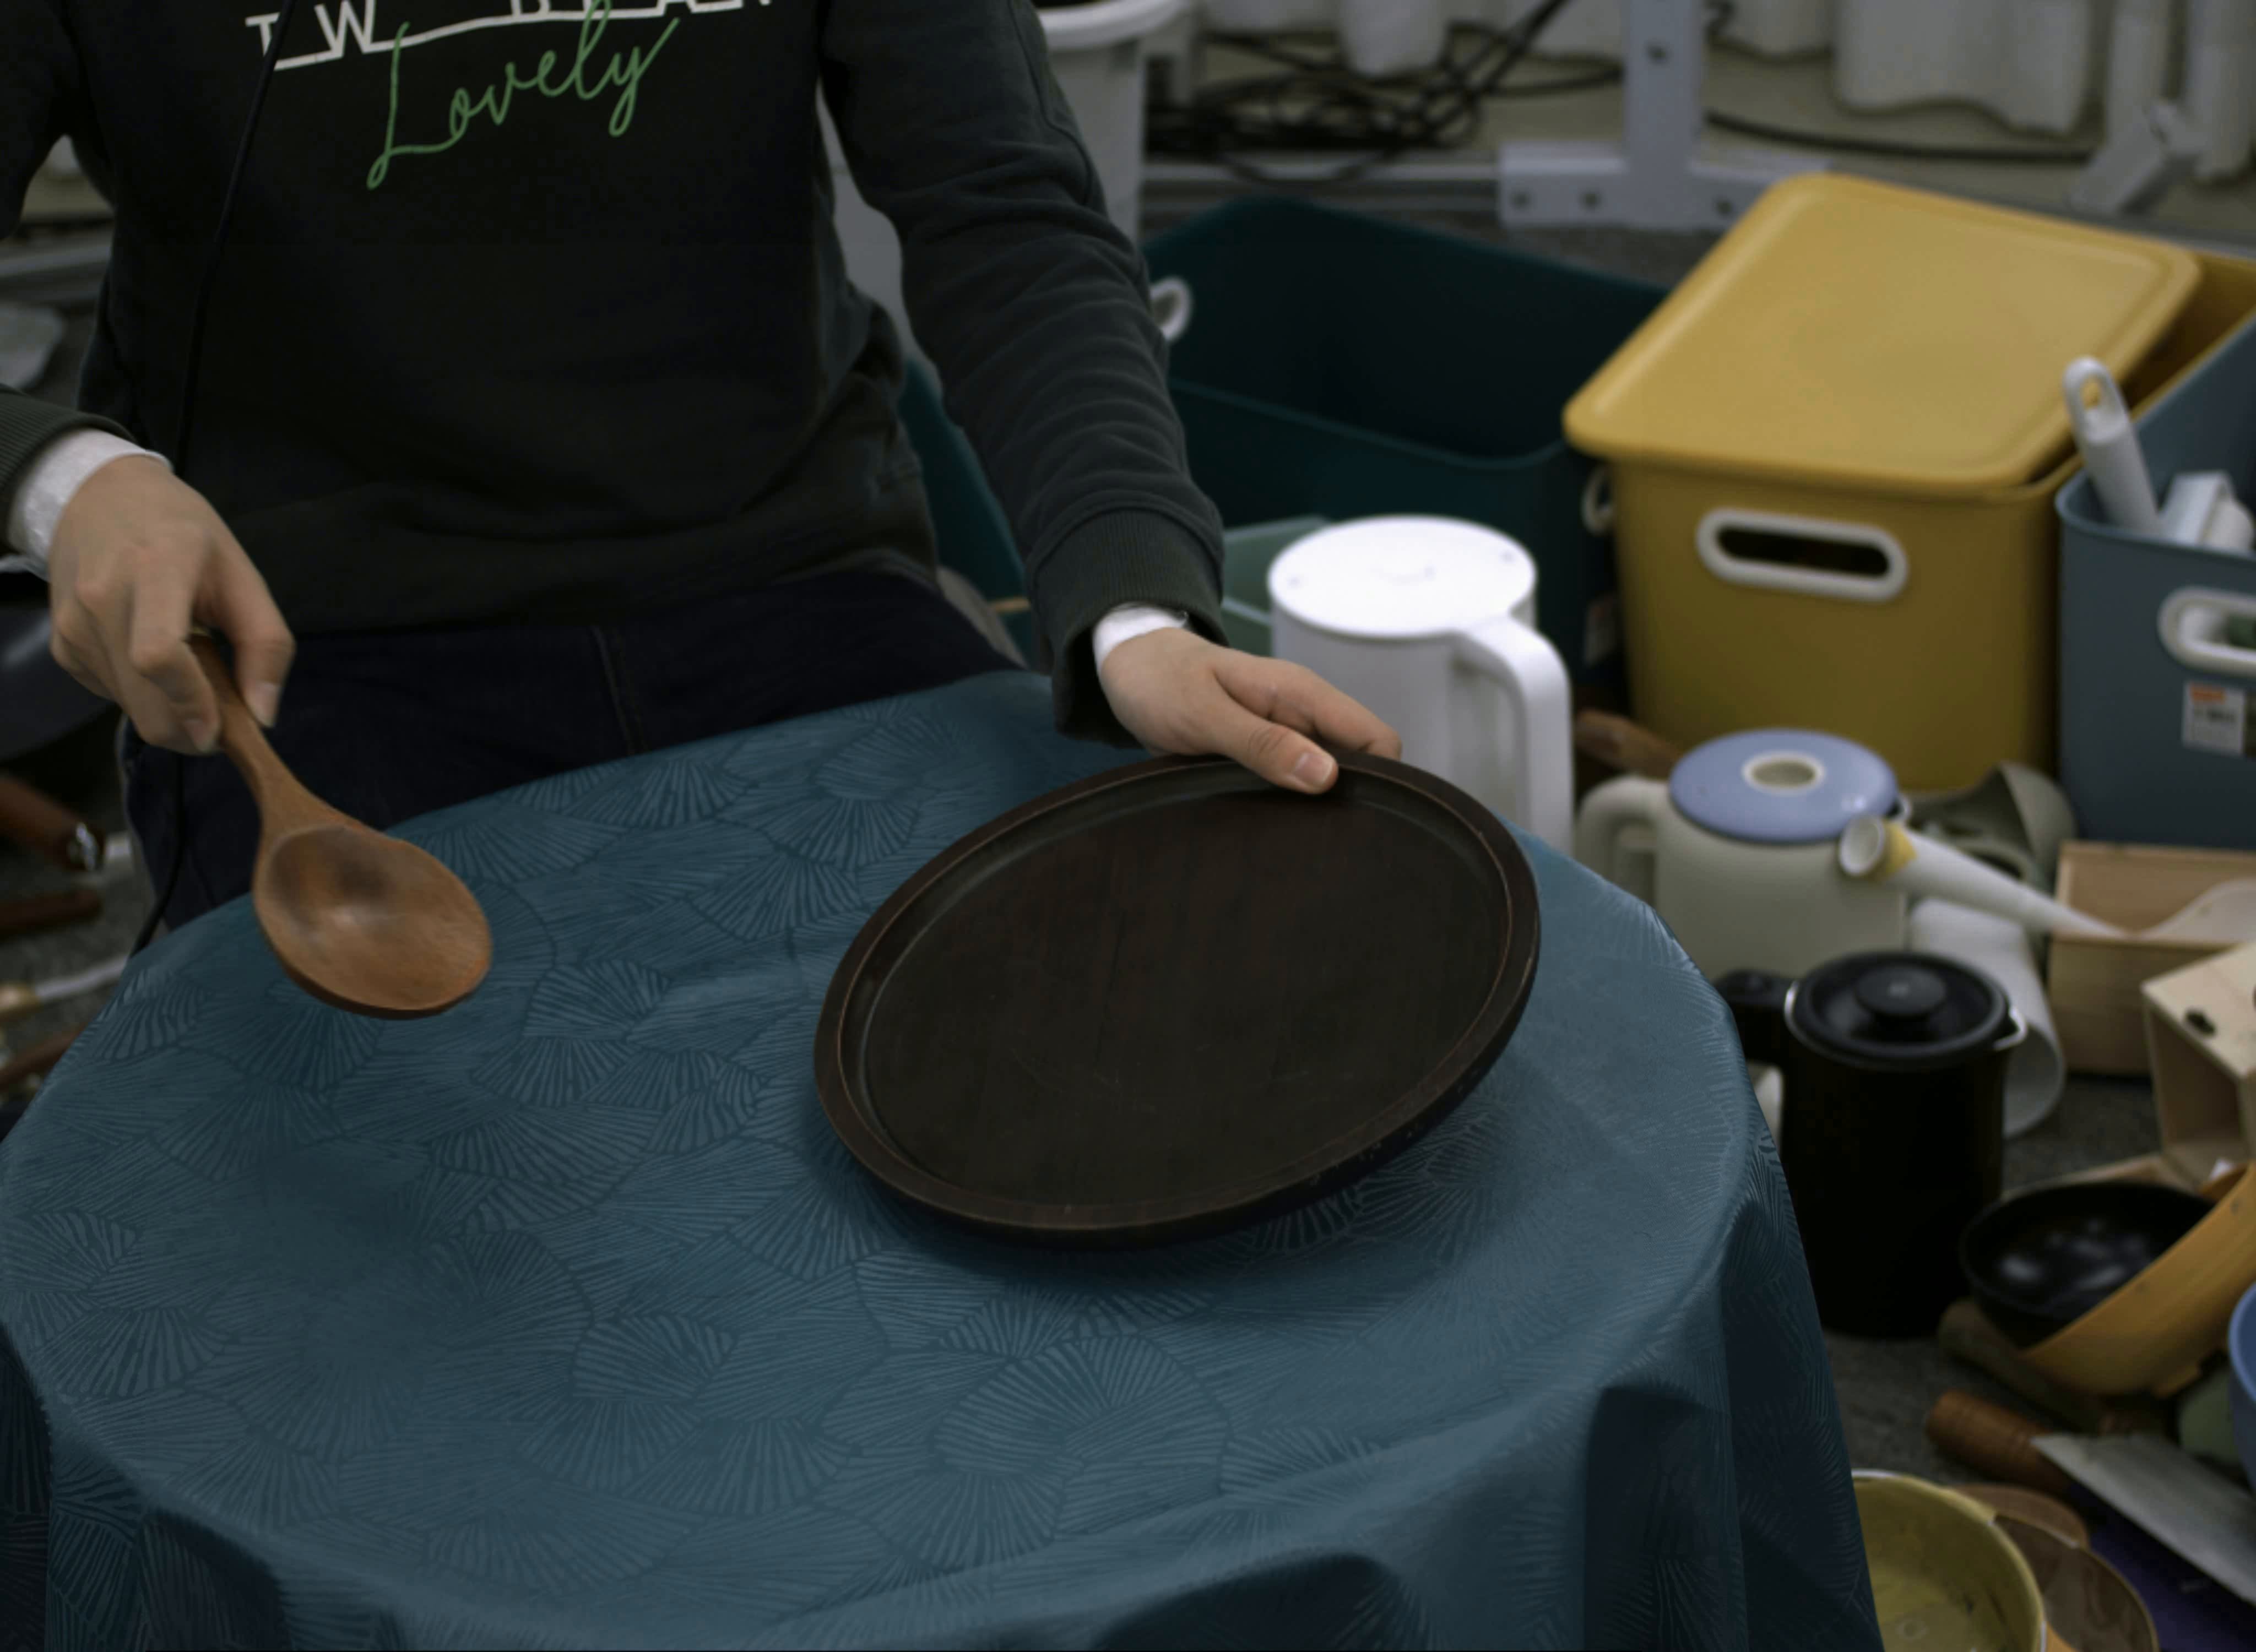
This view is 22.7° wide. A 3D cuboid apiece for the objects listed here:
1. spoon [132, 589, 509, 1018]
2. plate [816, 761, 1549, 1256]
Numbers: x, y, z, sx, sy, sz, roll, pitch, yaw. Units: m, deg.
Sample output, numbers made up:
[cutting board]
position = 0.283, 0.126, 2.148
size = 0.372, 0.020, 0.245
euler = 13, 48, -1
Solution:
[spoon]
position = -0.273, -0.007, 1.846
size = 0.076, 0.017, 0.218
euler = -13, 48, -33
[plate]
position = 0.018, 0.059, 1.895
size = 0.253, 0.028, 0.259
euler = -9, 36, 7
